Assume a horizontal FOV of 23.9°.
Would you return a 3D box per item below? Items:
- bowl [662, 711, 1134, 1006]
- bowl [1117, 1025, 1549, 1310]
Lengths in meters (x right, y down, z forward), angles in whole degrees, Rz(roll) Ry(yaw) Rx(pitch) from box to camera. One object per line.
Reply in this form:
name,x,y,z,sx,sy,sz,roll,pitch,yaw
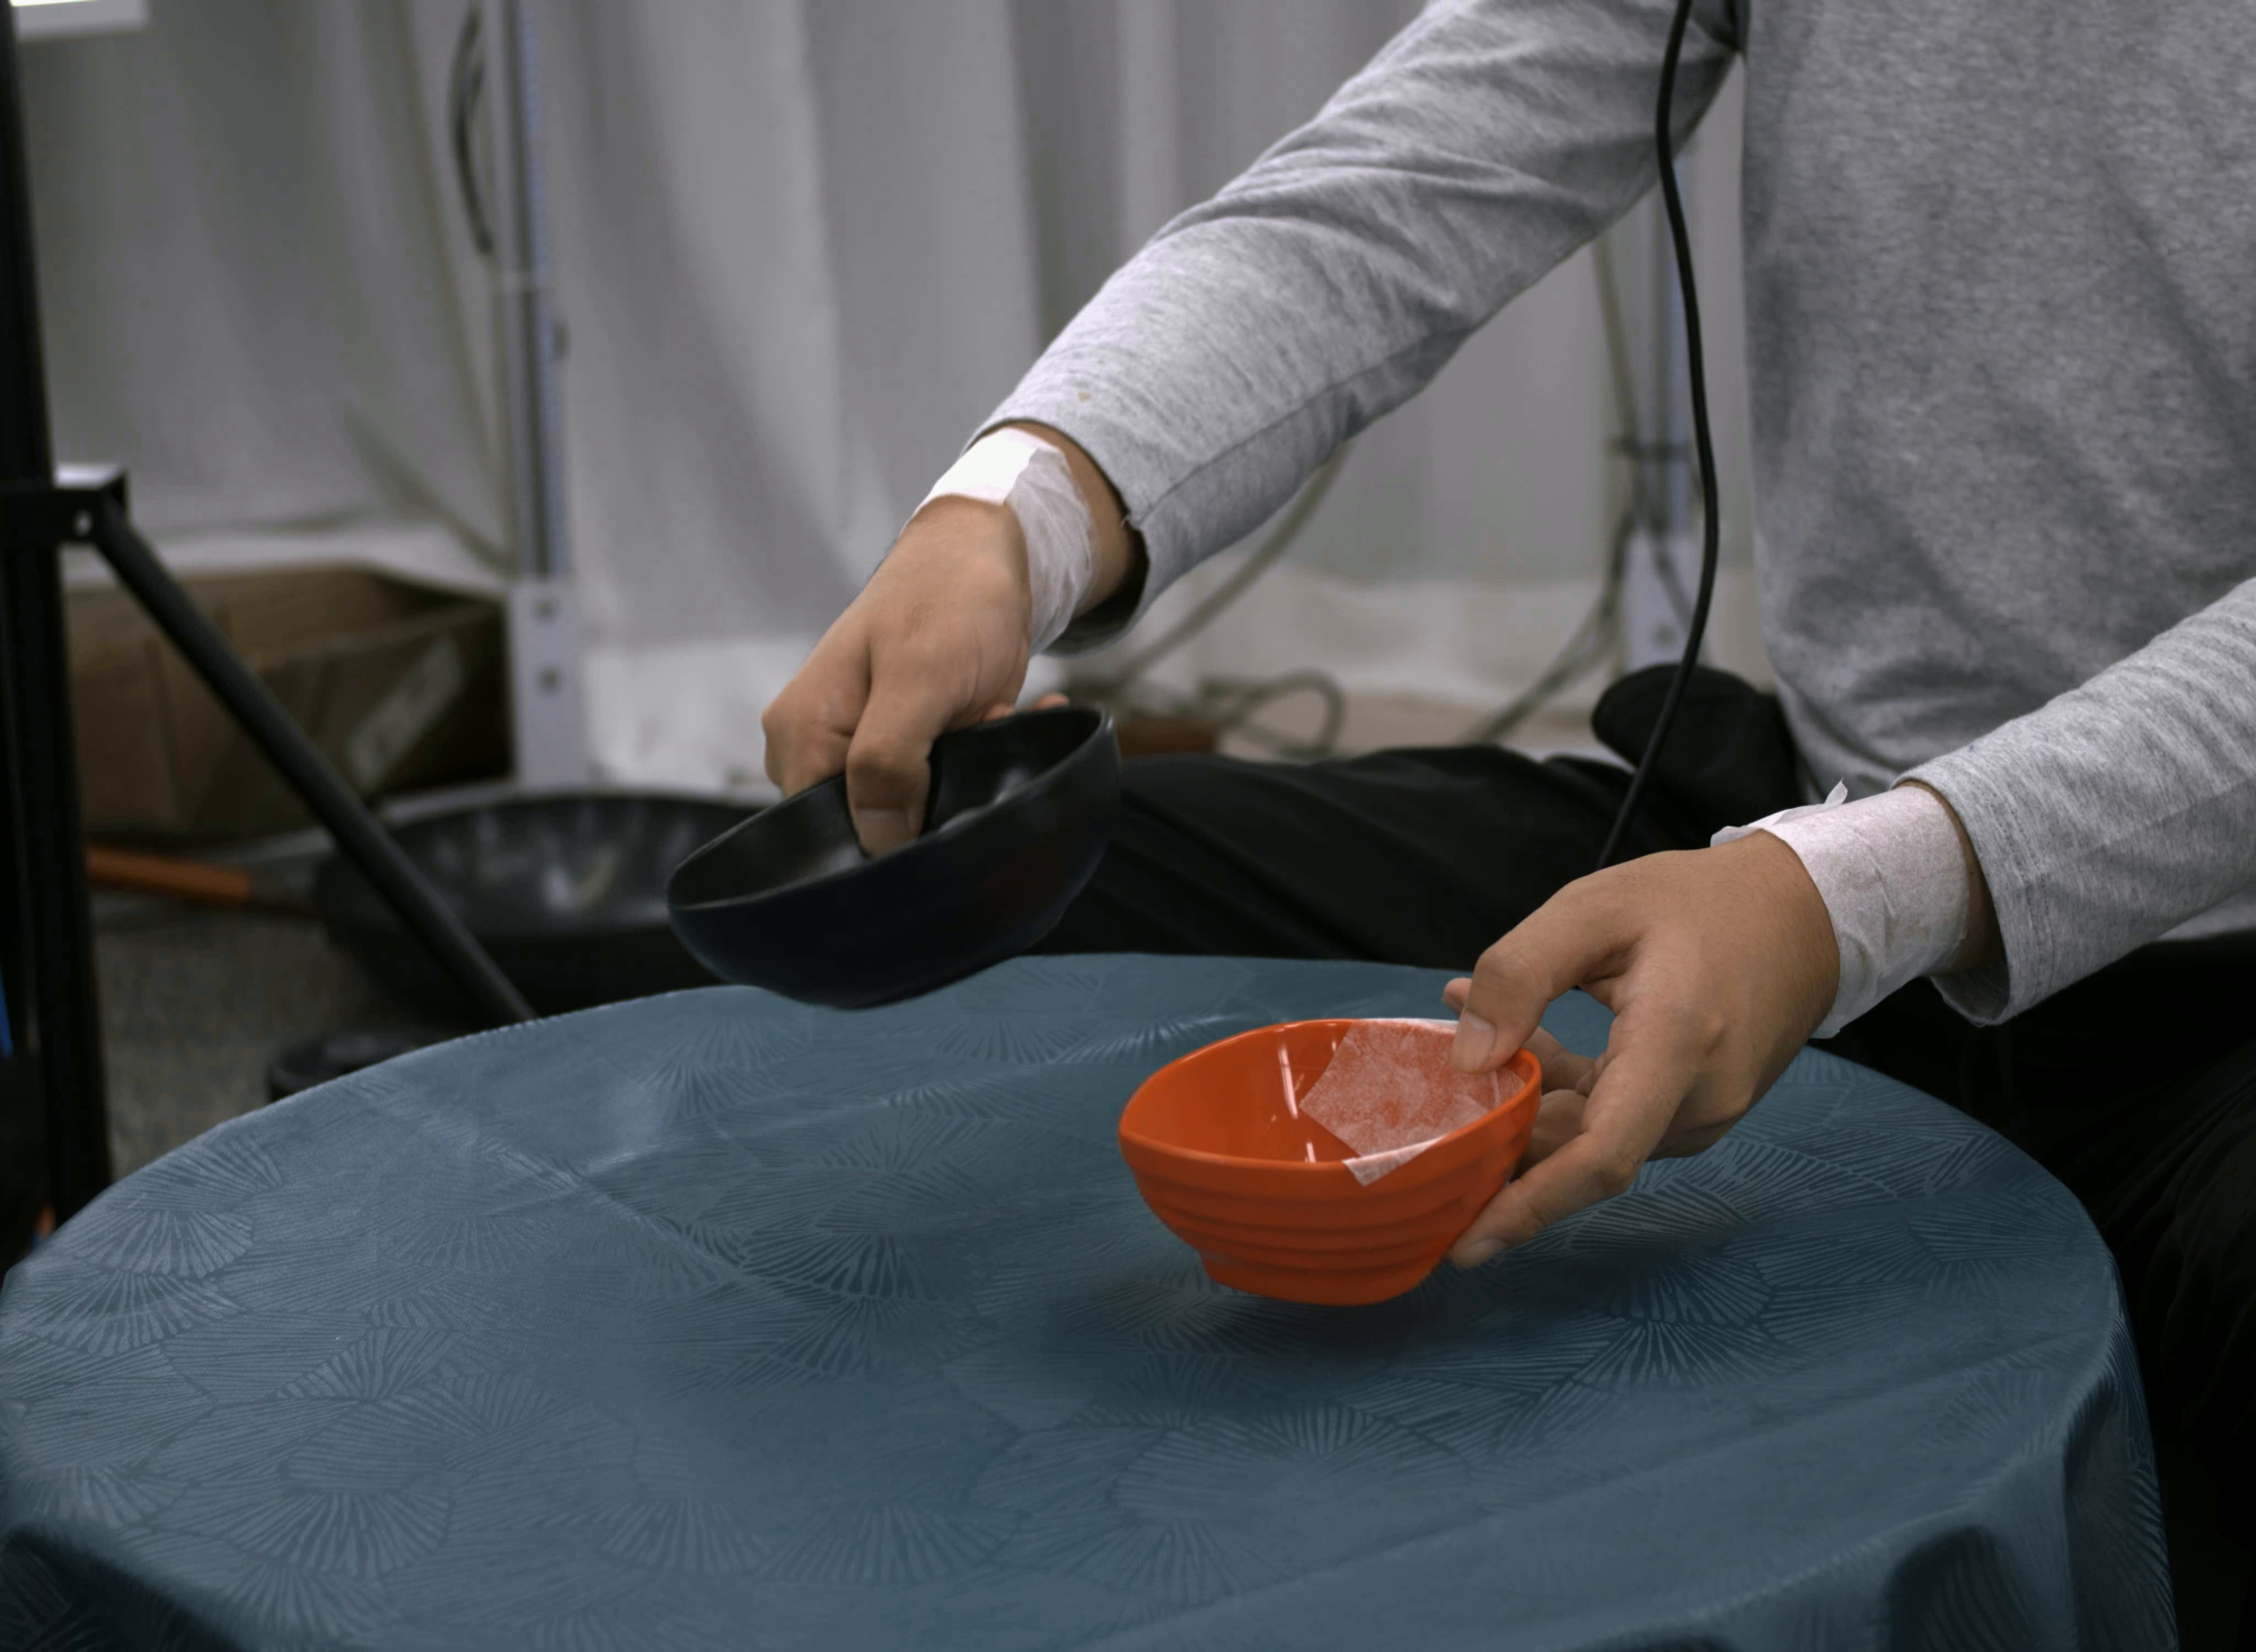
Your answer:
bowl,-0.058,0.015,1.491,0.139,0.050,0.140,-19,8,1
bowl,0.058,0.096,1.450,0.118,0.051,0.119,-6,15,0
